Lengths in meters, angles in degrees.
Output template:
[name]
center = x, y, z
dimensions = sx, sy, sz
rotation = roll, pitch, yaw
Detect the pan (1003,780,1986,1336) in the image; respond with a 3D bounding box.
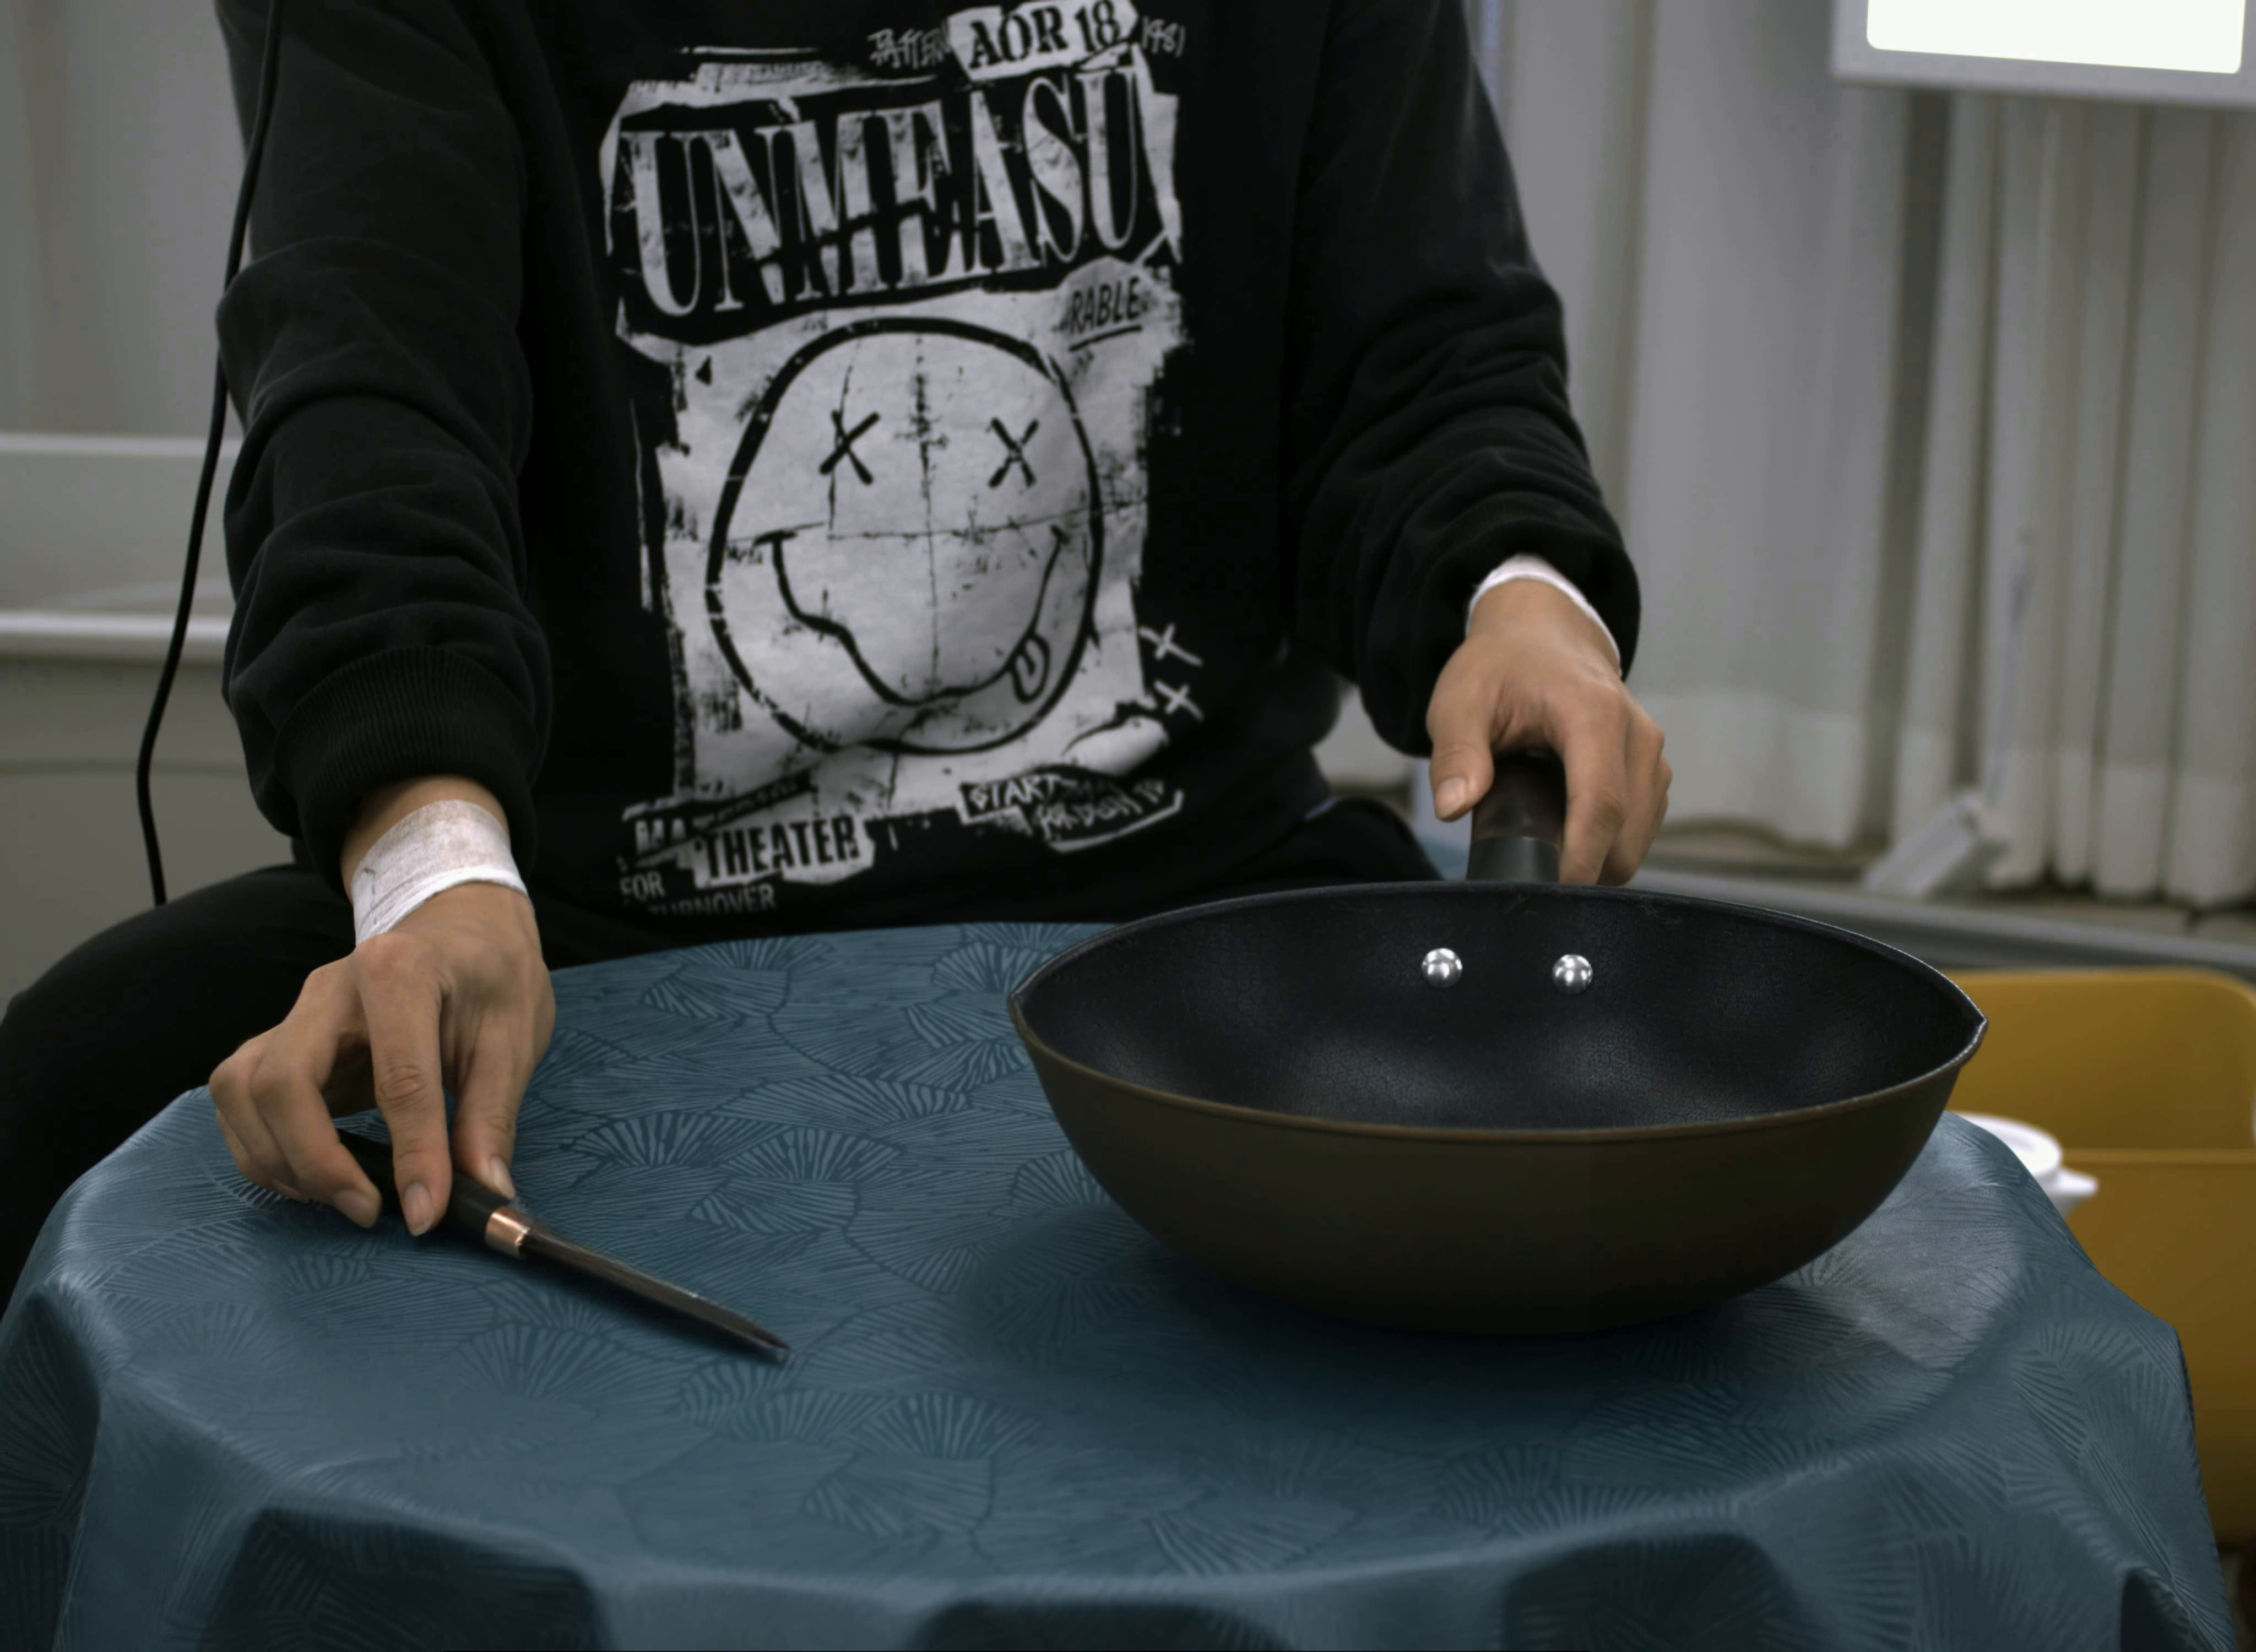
[pan]
center = 0.115, 0.069, 1.637
dimensions = 0.287, 0.087, 0.462
rotation = 2, 13, 5

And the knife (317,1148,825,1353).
[knife]
center = -0.168, 0.125, 1.552
dimensions = 0.222, 0.017, 0.026
rotation = 15, -2, 44
